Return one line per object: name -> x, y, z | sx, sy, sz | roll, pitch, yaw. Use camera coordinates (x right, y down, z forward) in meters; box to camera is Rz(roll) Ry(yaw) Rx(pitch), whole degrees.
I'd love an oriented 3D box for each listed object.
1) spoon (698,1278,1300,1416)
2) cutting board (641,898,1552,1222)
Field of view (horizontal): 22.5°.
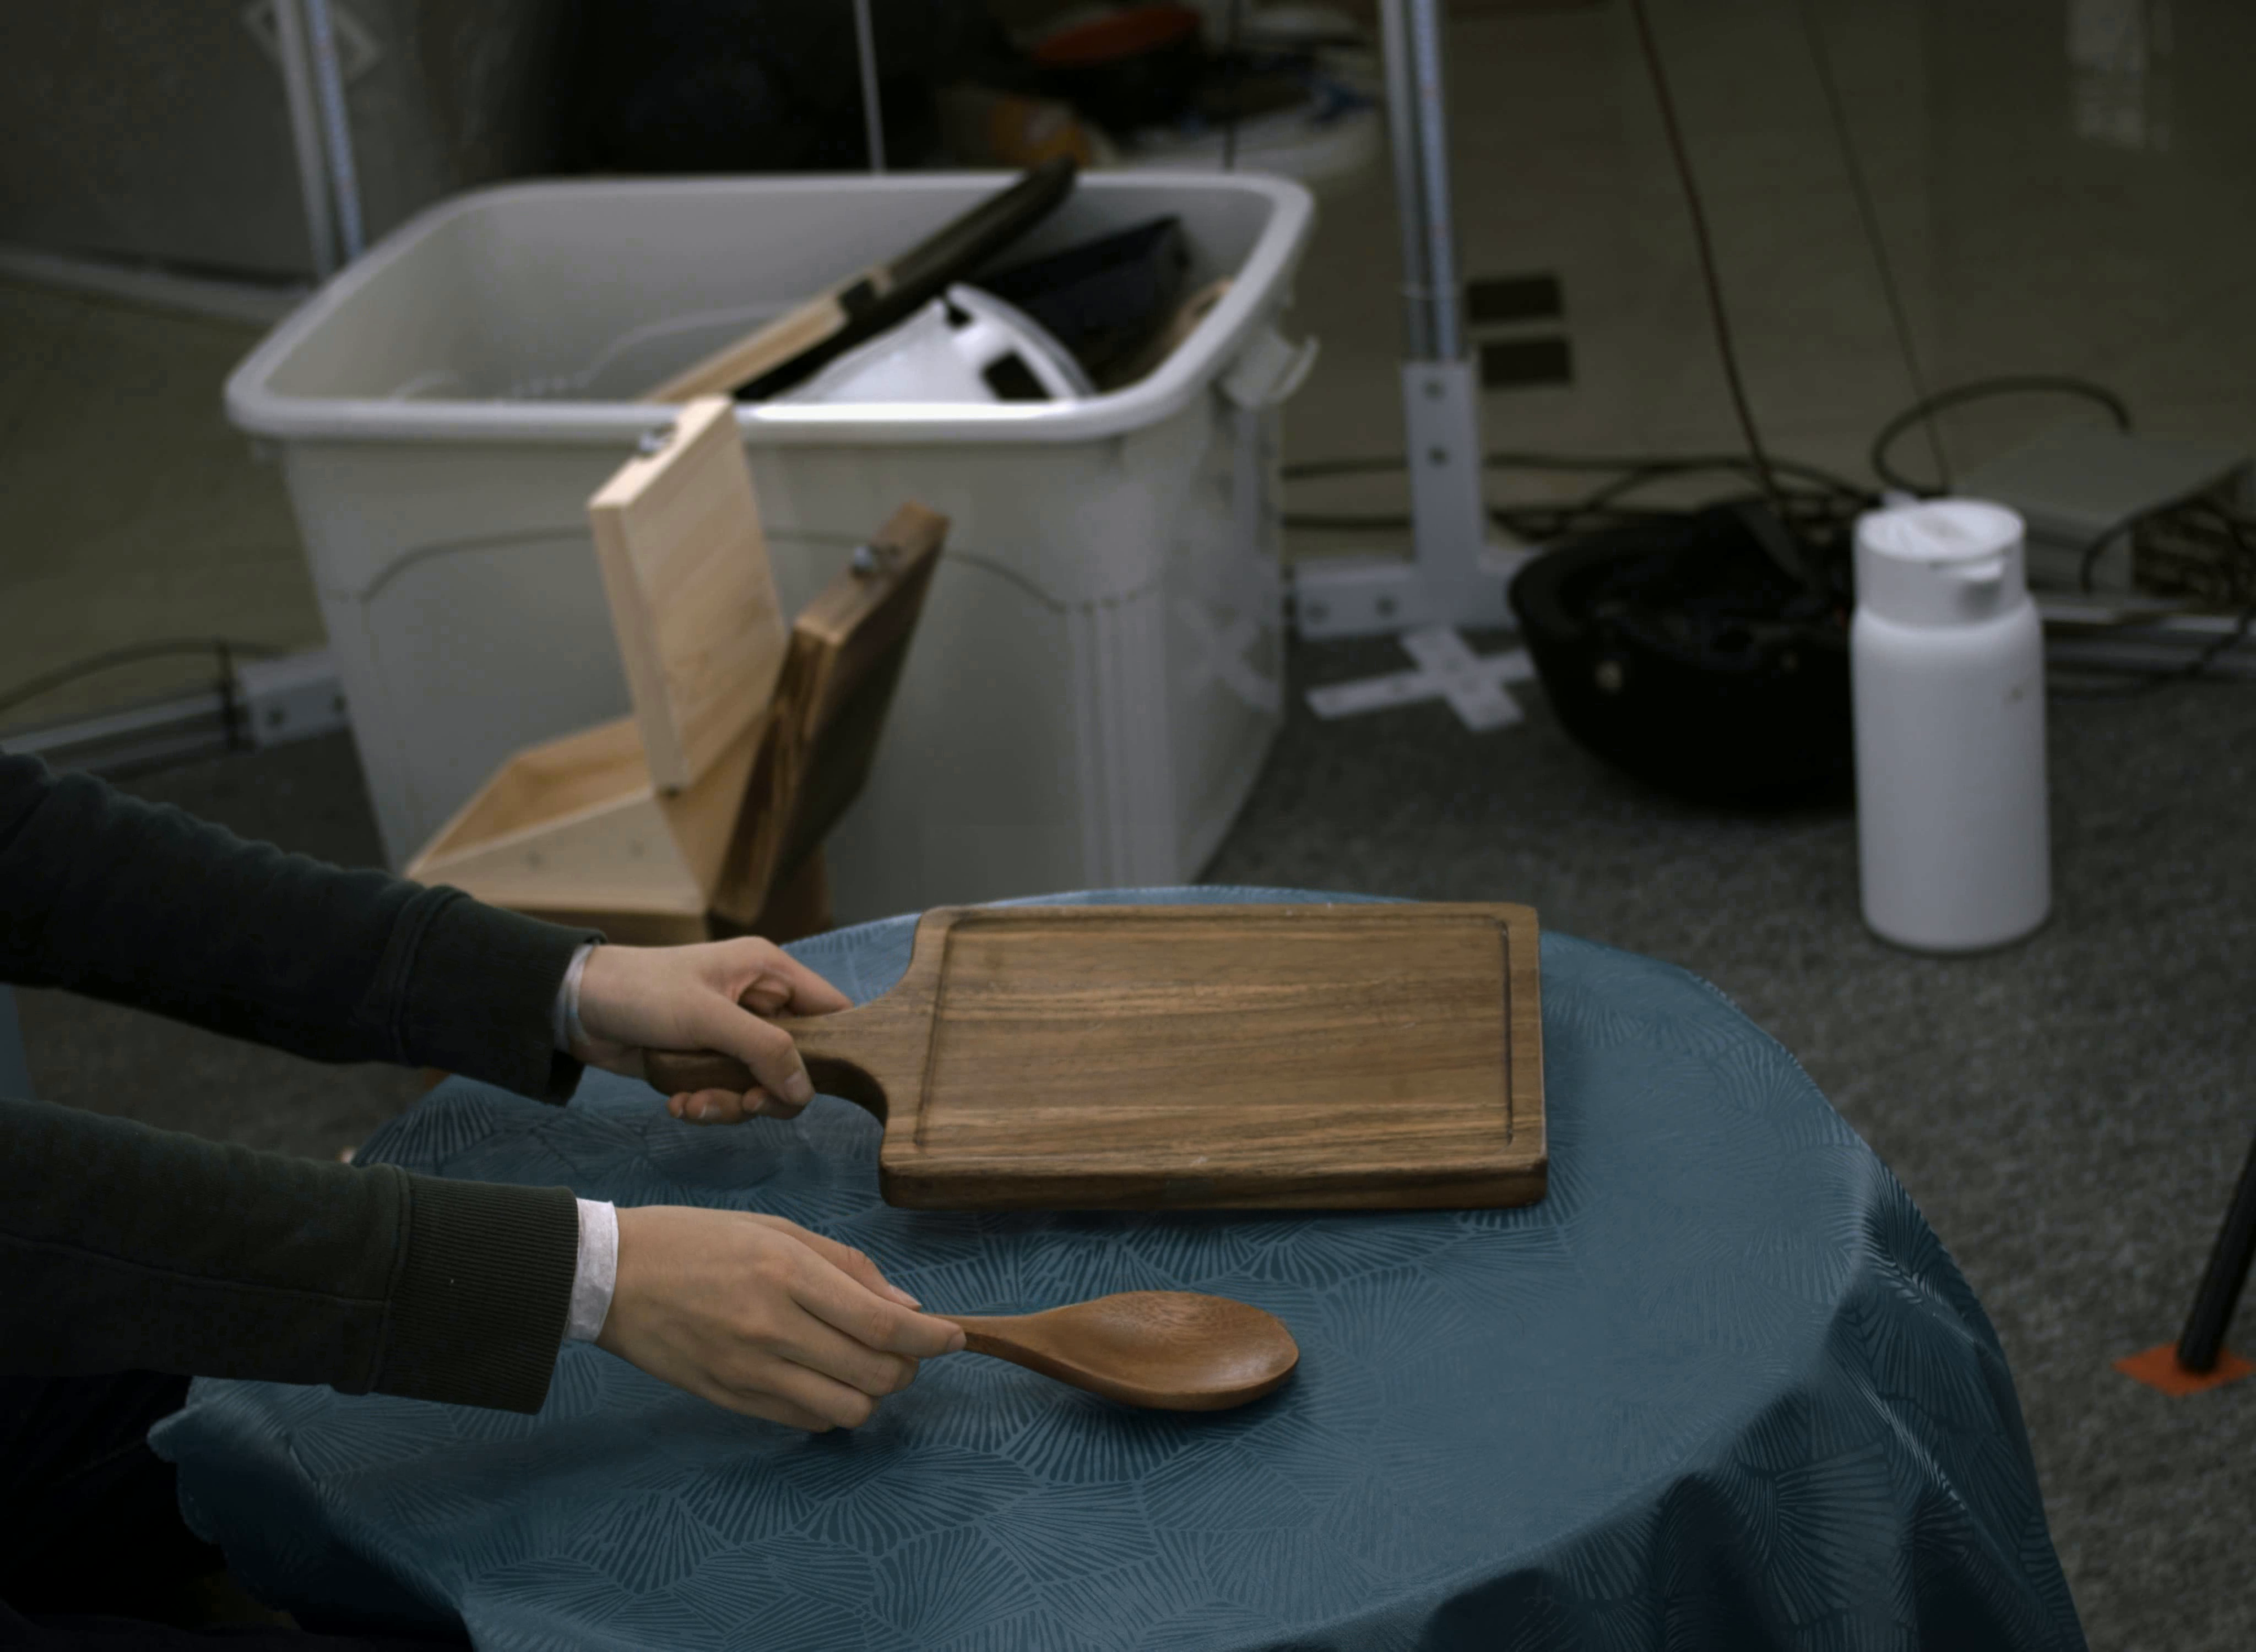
spoon -> -0.046, 0.182, 2.021 | 0.215, 0.017, 0.074 | 6, 27, 4
cutting board -> -0.014, 0.089, 2.197 | 0.351, 0.023, 0.197 | -1, 32, 3
